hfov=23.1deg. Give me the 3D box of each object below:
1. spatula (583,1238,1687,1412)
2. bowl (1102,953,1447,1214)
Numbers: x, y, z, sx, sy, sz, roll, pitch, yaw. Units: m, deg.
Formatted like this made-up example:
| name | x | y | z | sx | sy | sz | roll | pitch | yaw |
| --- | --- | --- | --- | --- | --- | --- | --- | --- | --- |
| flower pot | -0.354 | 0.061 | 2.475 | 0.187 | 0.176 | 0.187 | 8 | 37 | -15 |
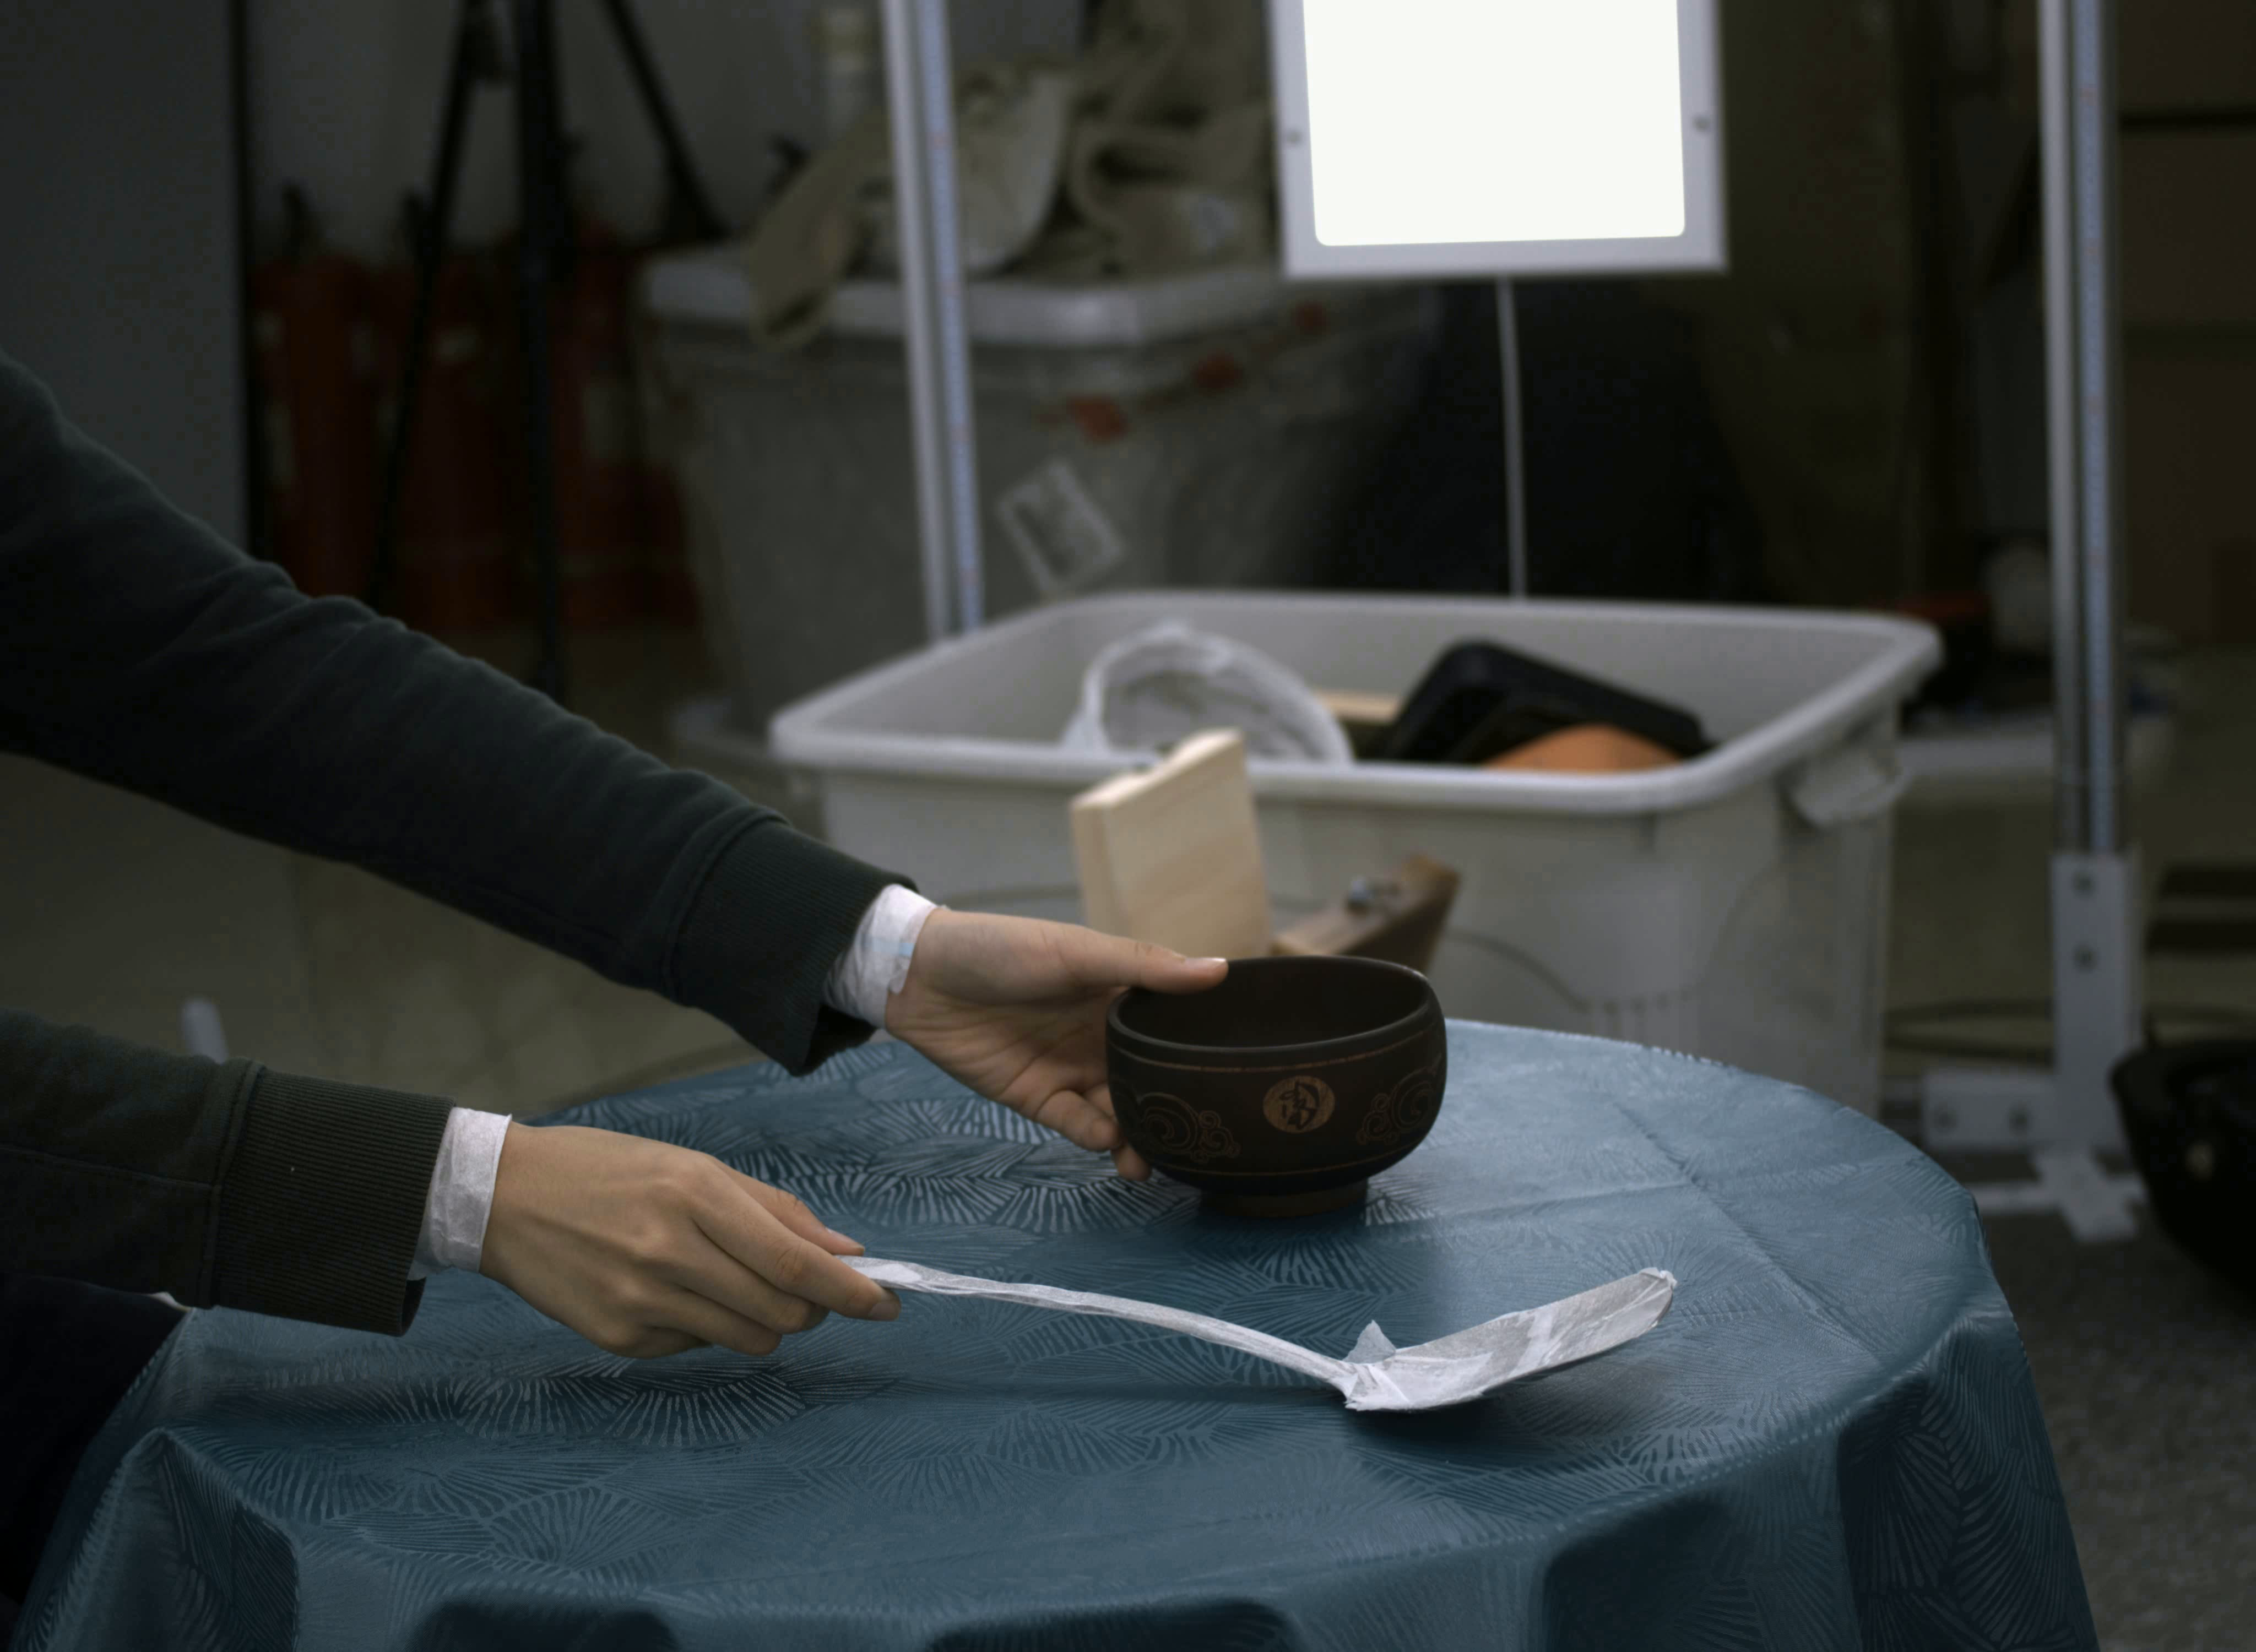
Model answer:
| name | x | y | z | sx | sy | sz | roll | pitch | yaw |
| --- | --- | --- | --- | --- | --- | --- | --- | --- | --- |
| spatula | -0.008 | 0.143 | 1.707 | 0.369 | 0.045 | 0.097 | 7 | 15 | 20 |
| bowl | 0.051 | 0.091 | 1.872 | 0.118 | 0.070 | 0.118 | -4 | 13 | 0 |
